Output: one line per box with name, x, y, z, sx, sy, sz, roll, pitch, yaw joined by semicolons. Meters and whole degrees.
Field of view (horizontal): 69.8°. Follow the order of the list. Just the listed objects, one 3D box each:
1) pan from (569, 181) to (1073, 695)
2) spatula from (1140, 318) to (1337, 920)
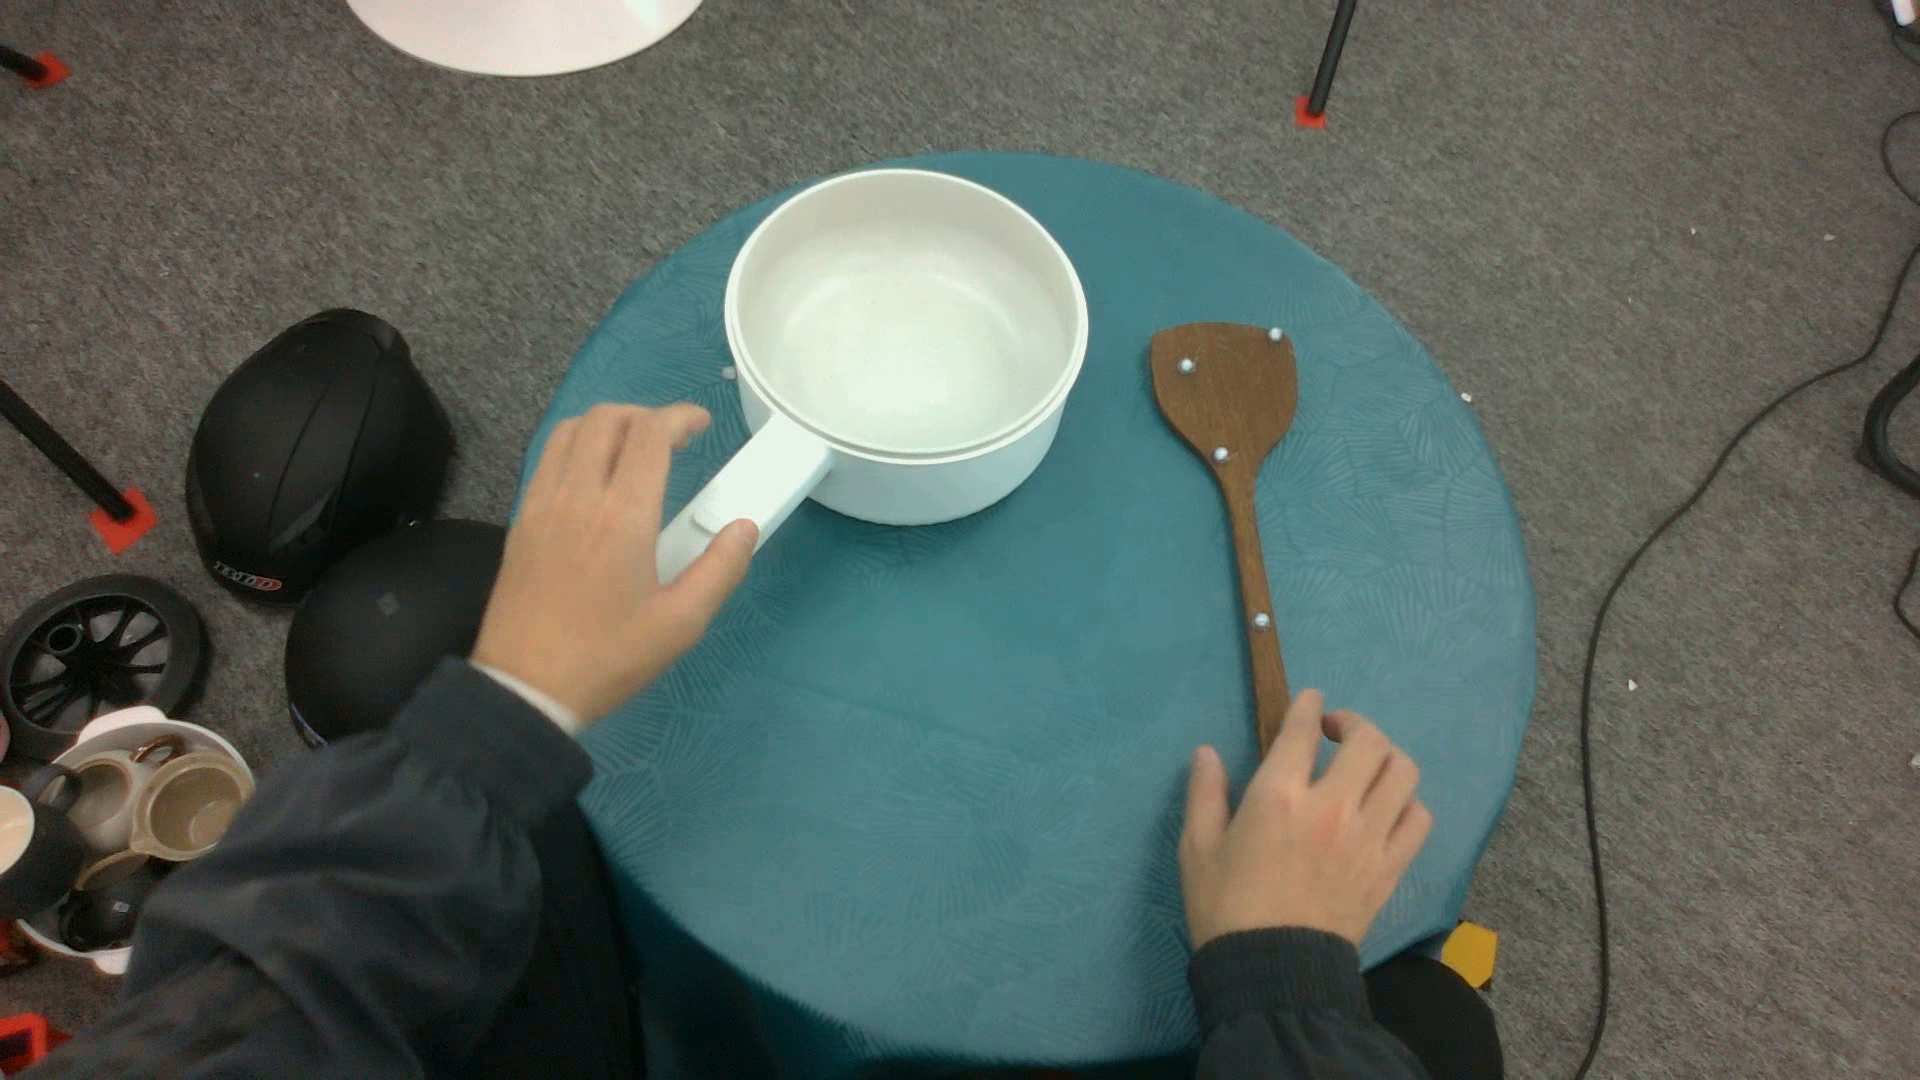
pan;-0.080;-0.048;0.779;0.201;0.101;0.356;31;64;12
spatula;0.172;0.026;0.805;0.096;0.016;0.387;-1;61;-5
